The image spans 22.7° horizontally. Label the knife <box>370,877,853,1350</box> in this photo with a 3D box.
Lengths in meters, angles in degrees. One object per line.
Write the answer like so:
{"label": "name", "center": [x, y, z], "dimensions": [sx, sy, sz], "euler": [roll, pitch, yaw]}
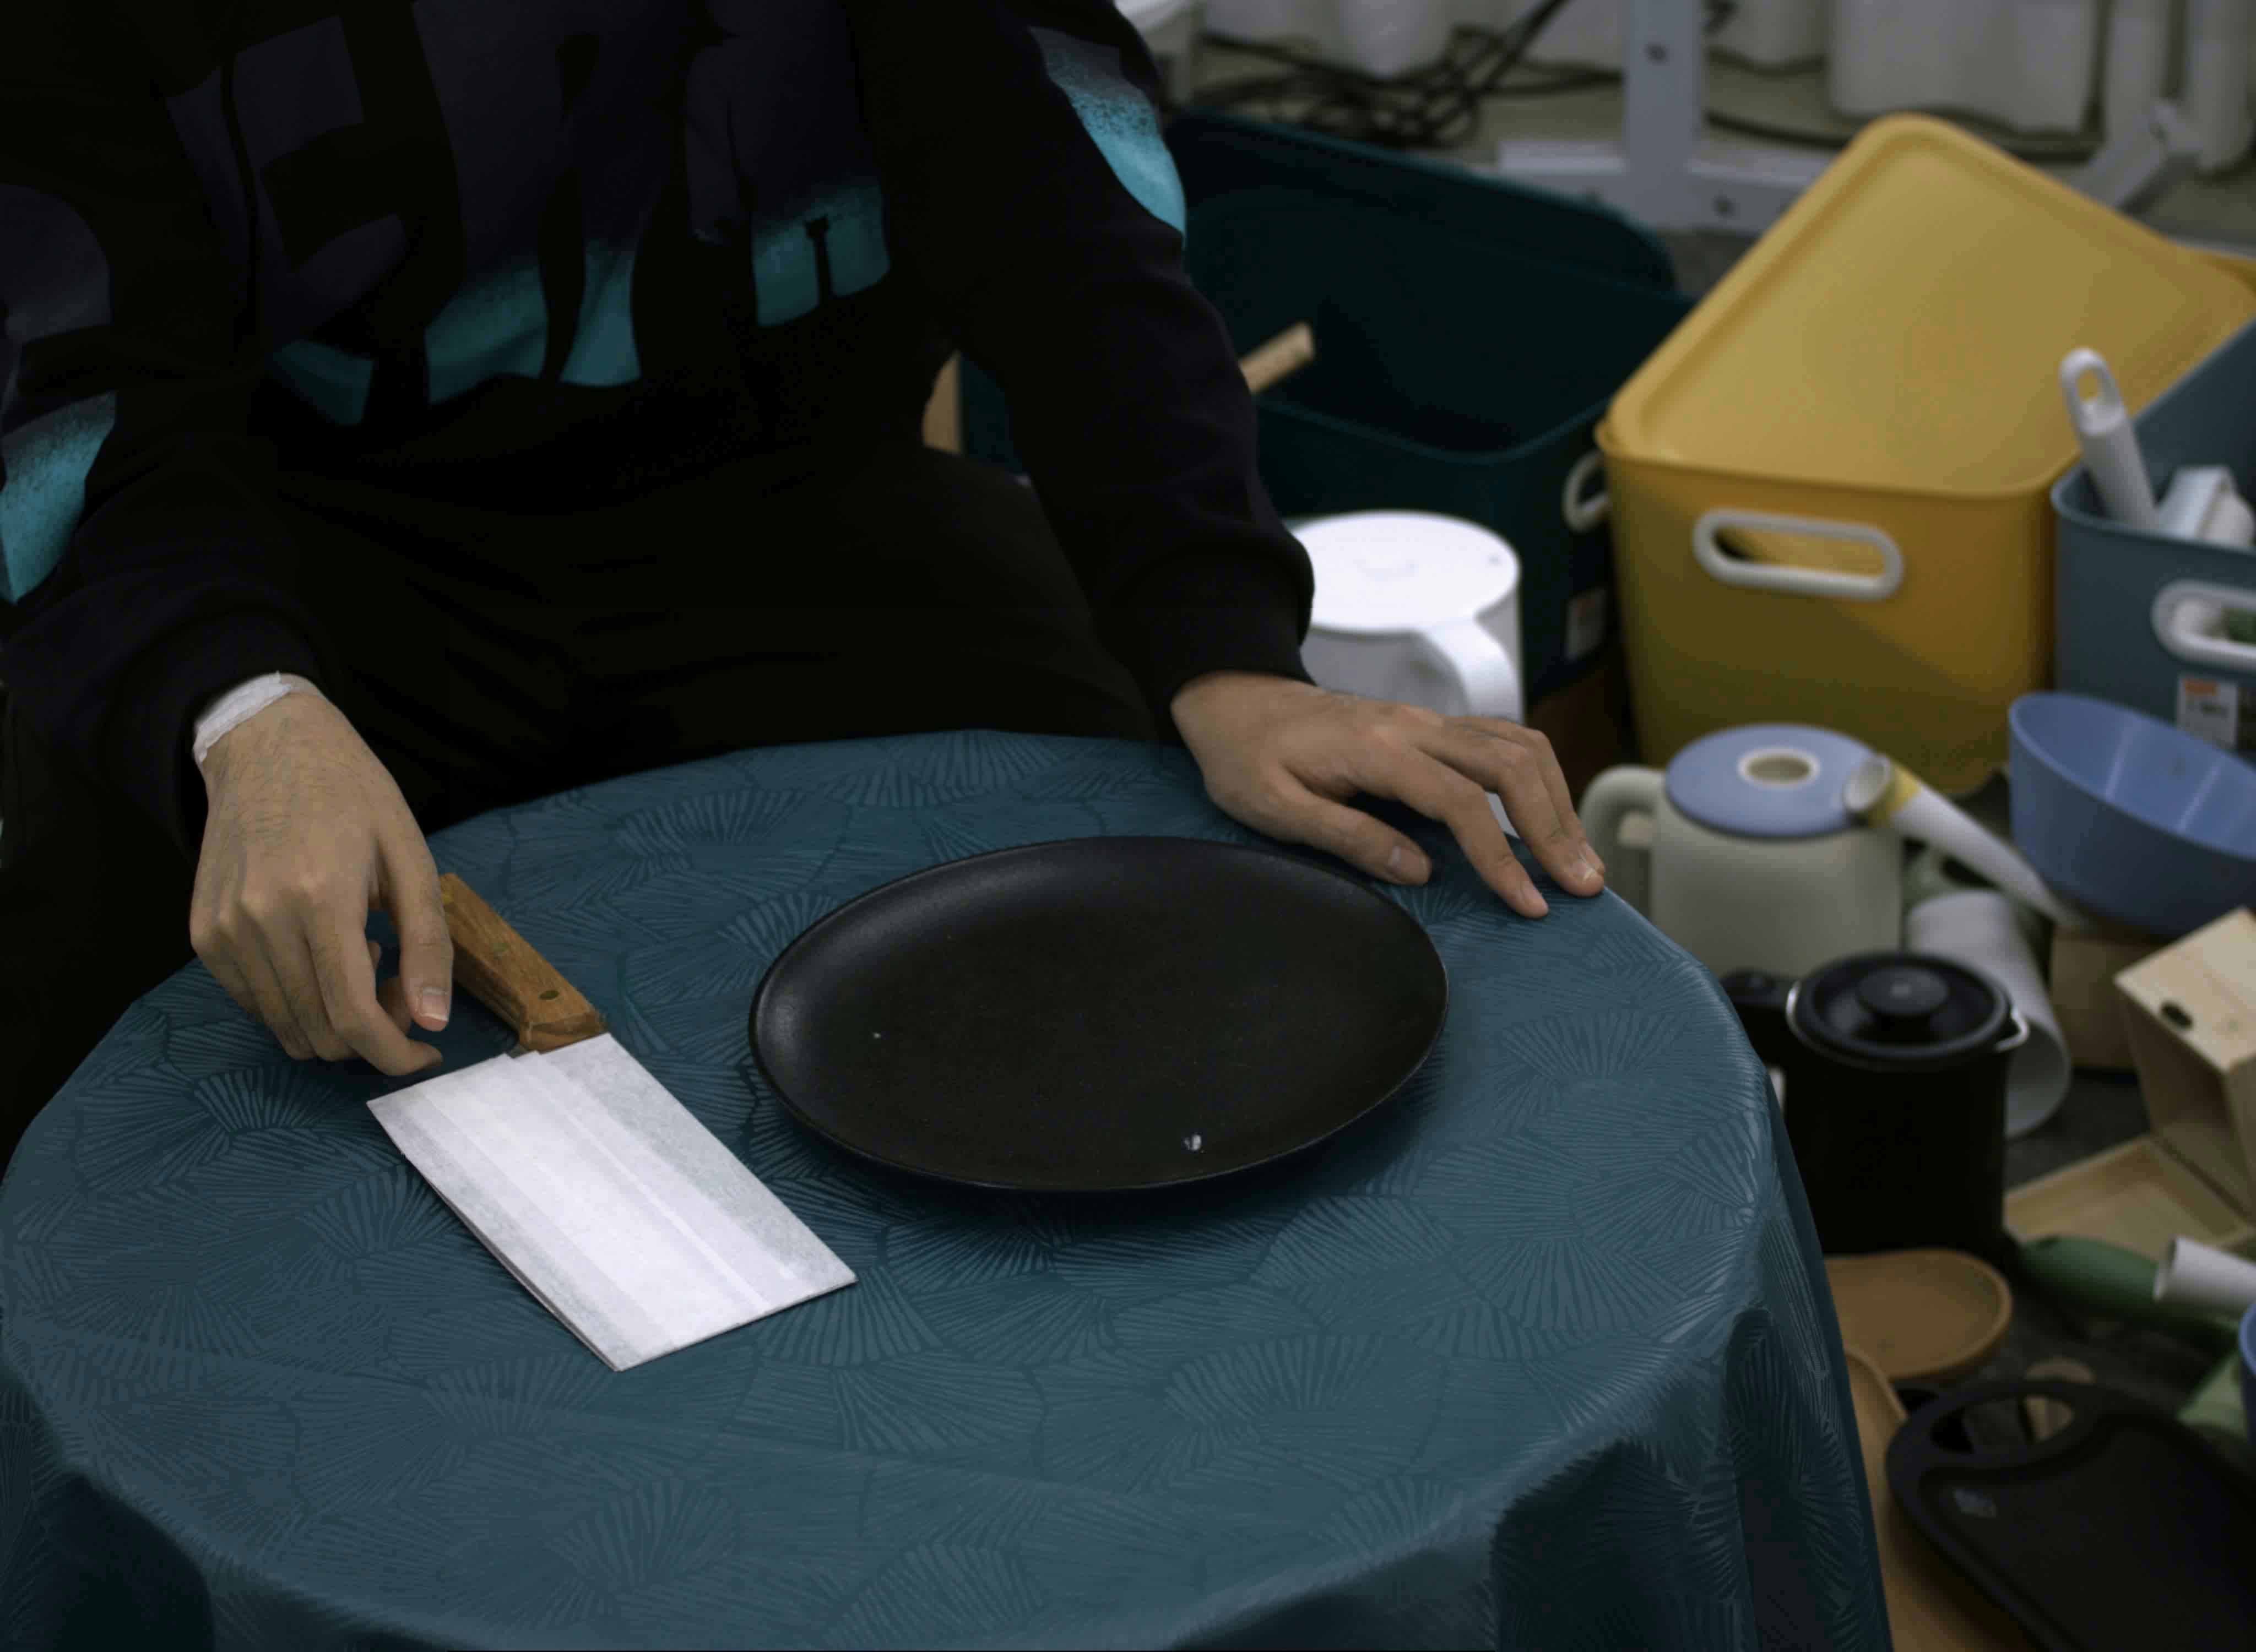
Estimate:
{"label": "knife", "center": [-0.202, 0.098, 1.912], "dimensions": [0.093, 0.021, 0.307], "euler": [-19, 34, -25]}

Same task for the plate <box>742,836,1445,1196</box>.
{"label": "plate", "center": [-0.011, 0.070, 1.937], "dimensions": [0.243, 0.023, 0.248], "euler": [-2, 28, 2]}
